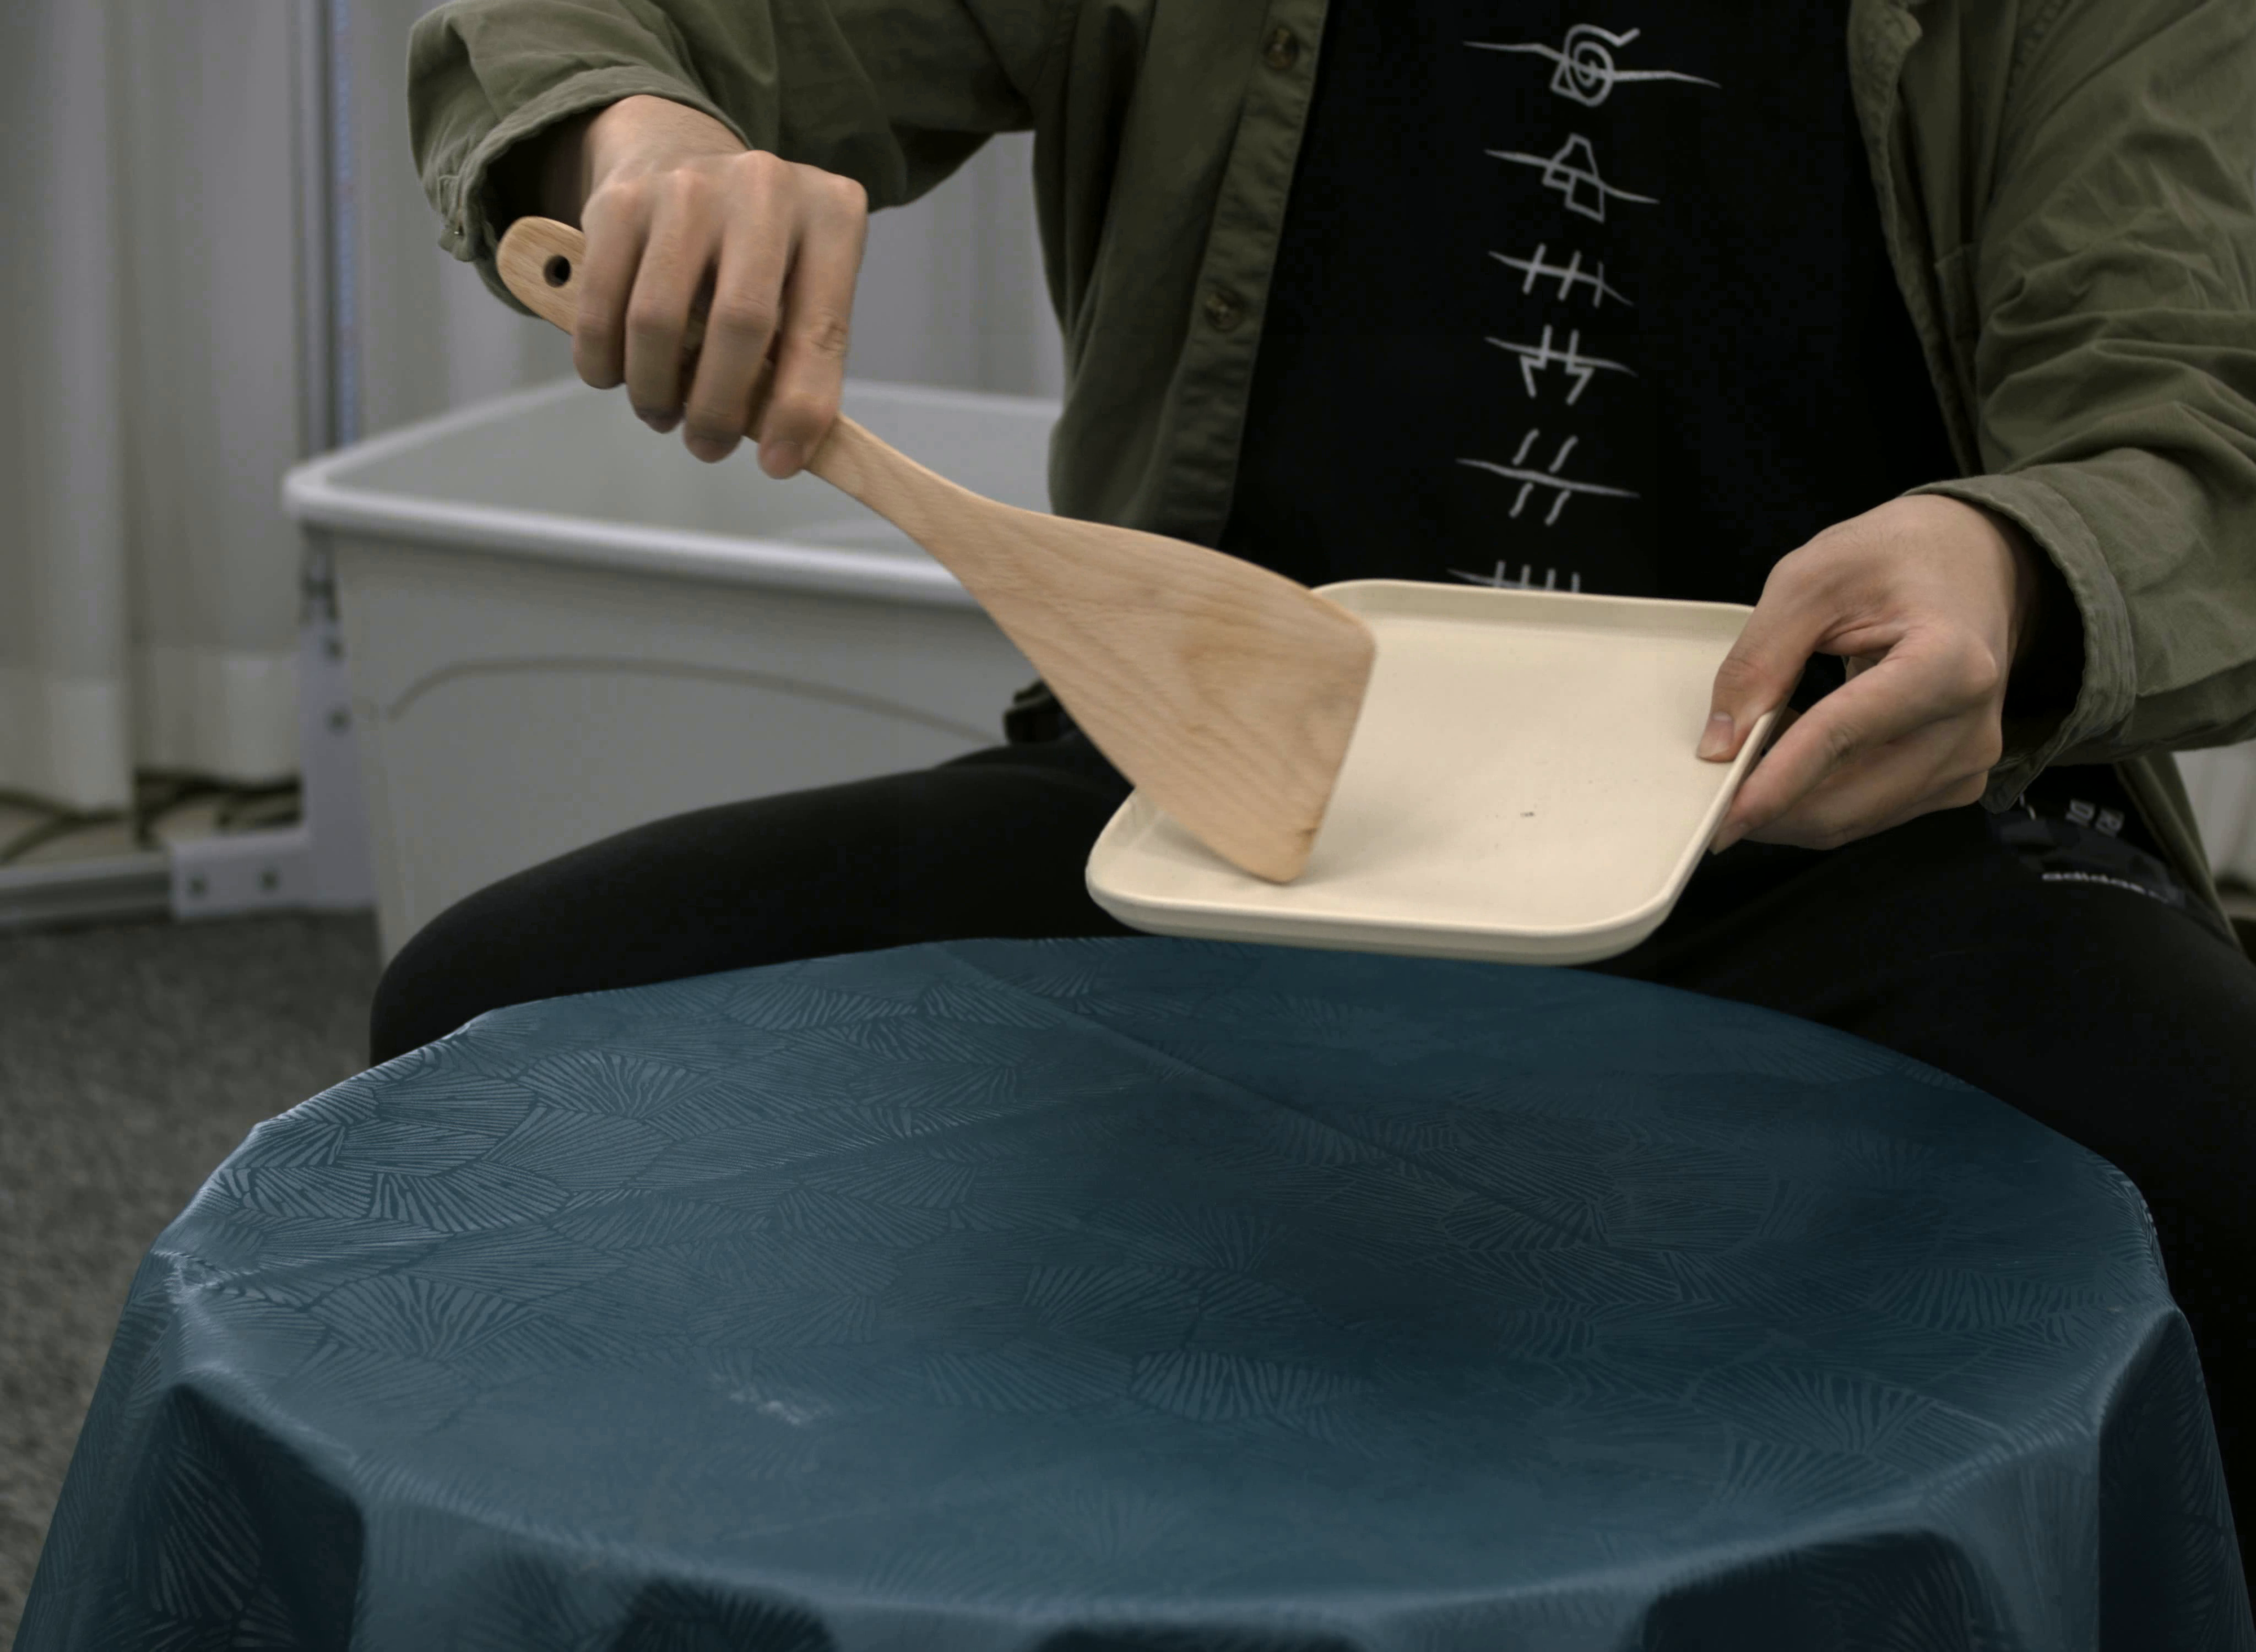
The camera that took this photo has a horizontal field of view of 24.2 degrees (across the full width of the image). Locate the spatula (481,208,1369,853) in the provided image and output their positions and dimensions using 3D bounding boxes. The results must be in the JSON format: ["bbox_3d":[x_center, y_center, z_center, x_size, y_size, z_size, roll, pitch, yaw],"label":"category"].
[{"bbox_3d":[-0.065,-0.102,1.541,0.324,0.080,0.016,32,12,19],"label":"spatula"}]

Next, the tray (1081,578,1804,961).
[{"bbox_3d":[0.096,-0.018,1.541,0.170,0.017,0.239,6,26,18],"label":"tray"}]
